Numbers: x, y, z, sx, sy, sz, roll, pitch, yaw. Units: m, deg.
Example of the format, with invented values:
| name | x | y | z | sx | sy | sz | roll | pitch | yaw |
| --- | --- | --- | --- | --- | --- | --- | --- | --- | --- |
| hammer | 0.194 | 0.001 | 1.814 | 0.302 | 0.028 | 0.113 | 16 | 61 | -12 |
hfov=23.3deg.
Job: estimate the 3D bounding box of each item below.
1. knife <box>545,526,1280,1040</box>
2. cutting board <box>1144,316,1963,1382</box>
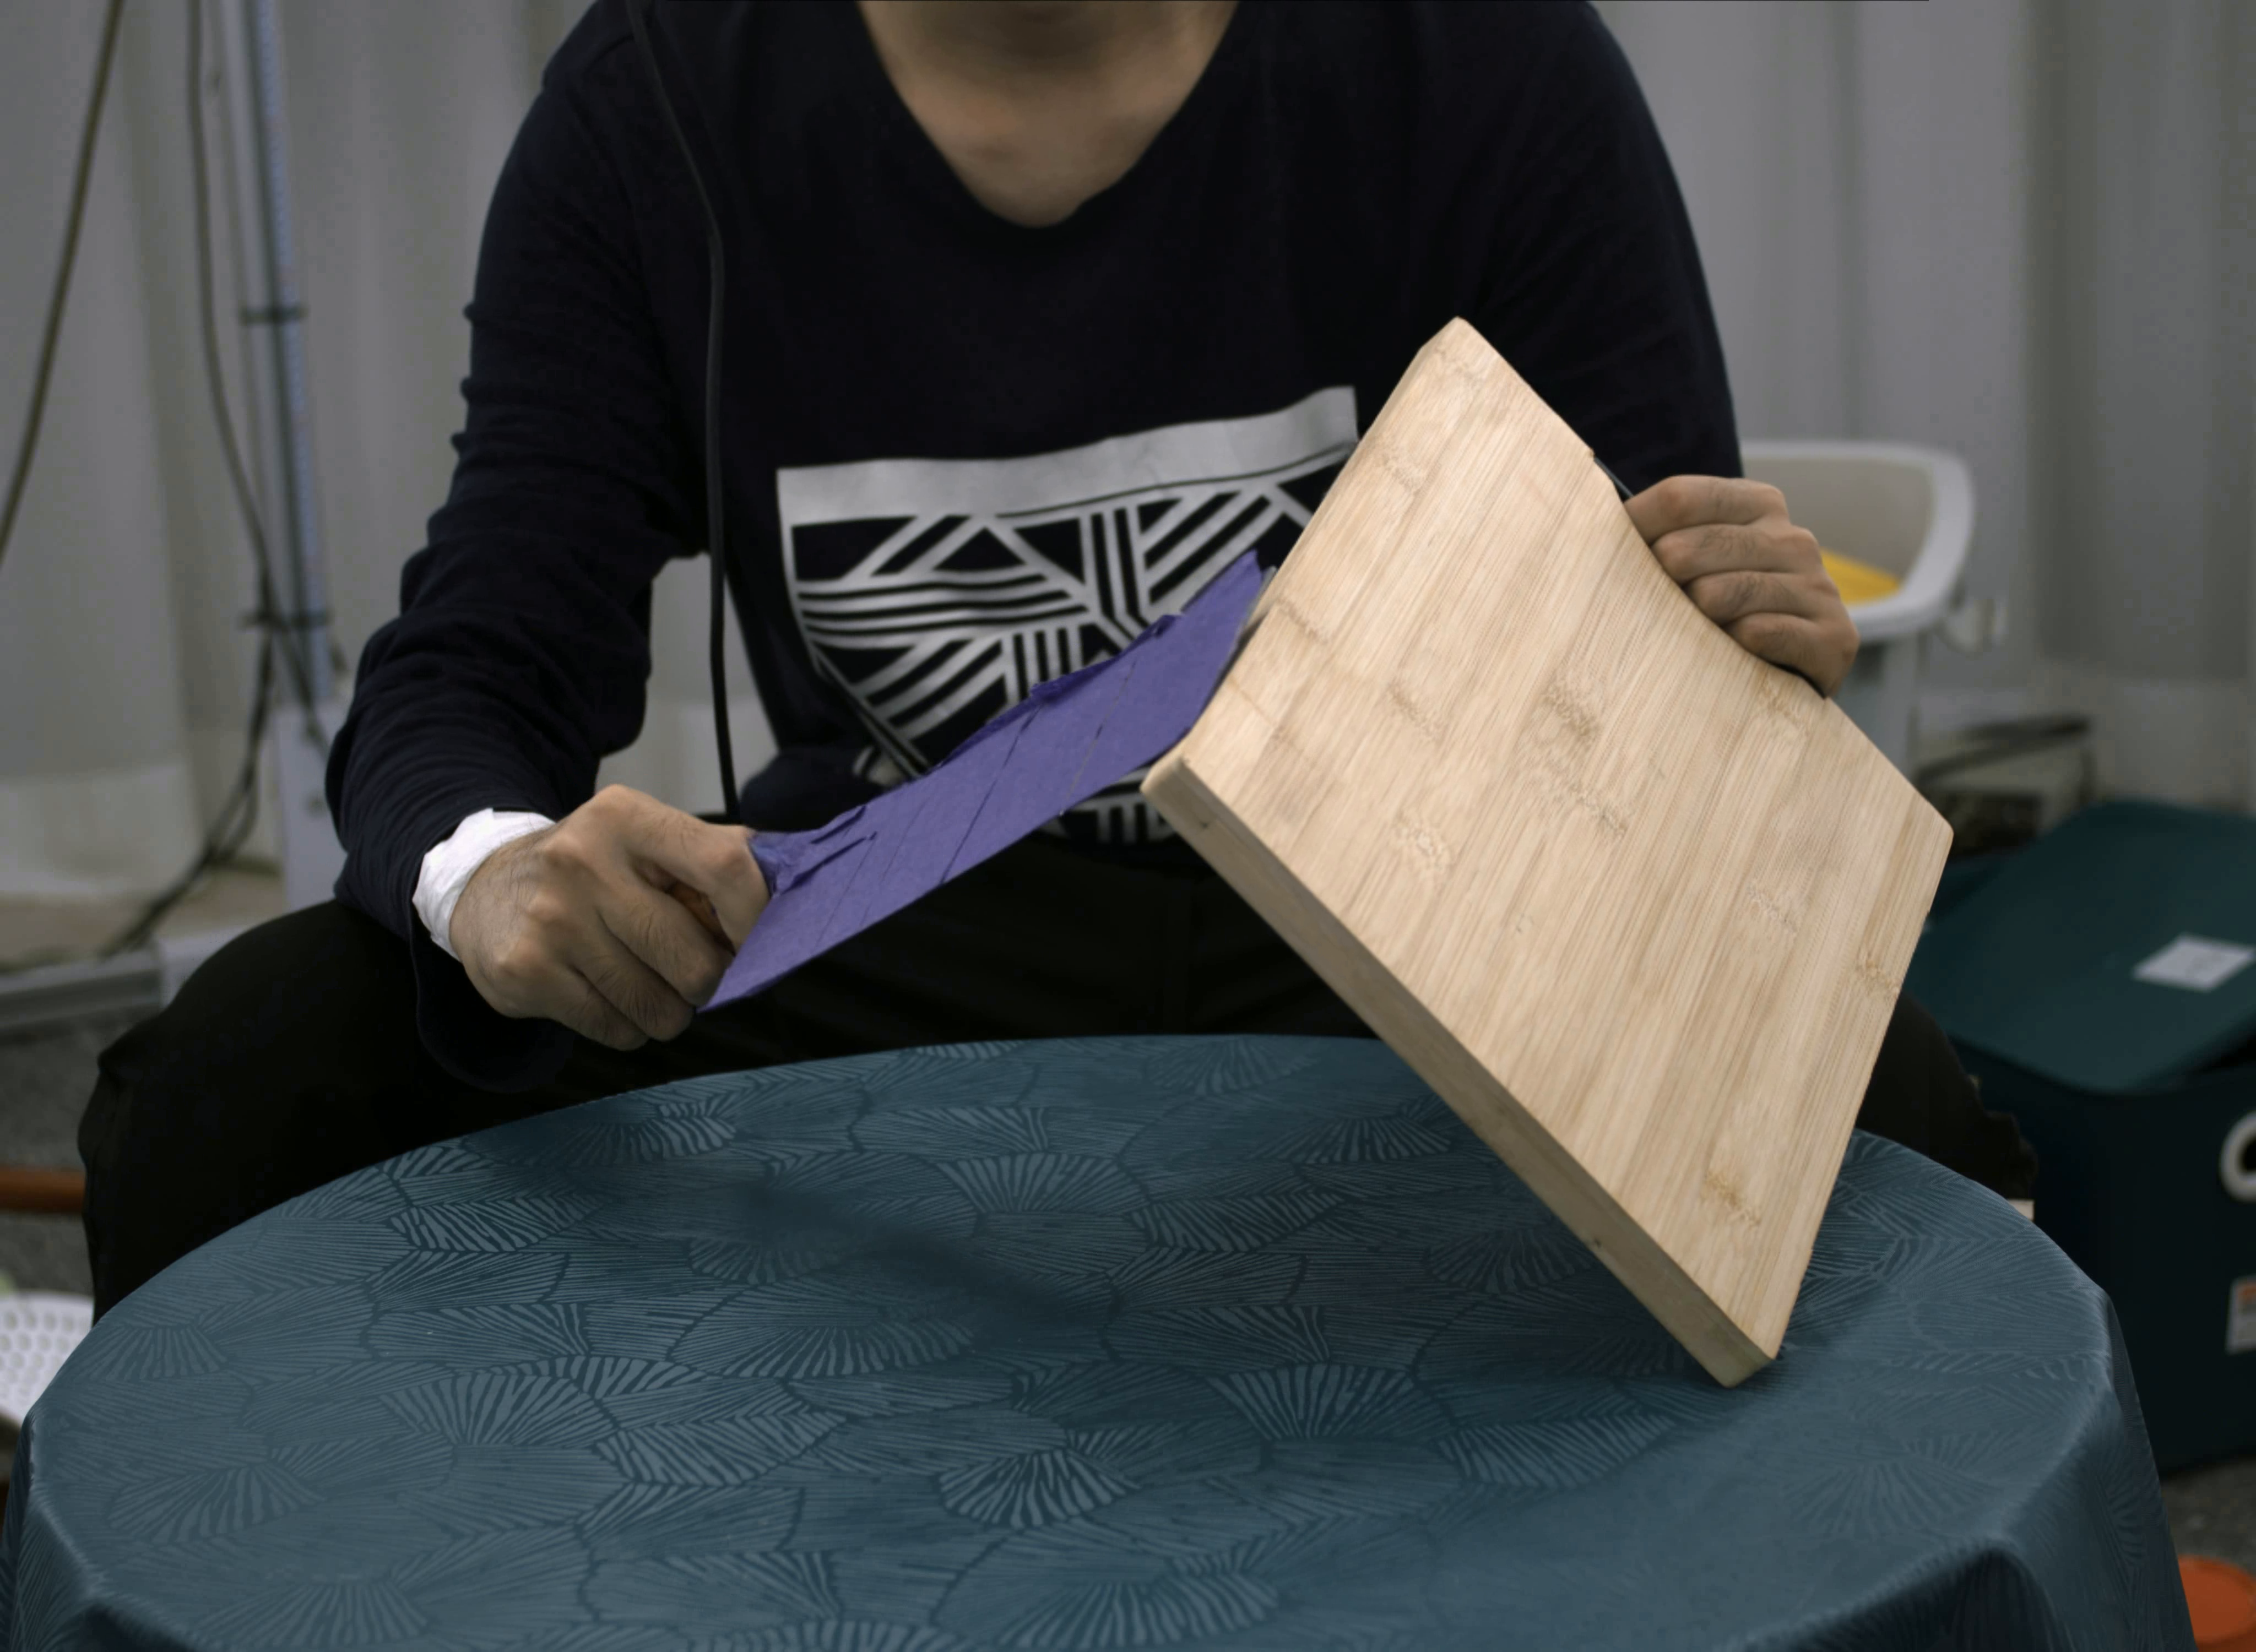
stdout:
| name | x | y | z | sx | sy | sz | roll | pitch | yaw |
| --- | --- | --- | --- | --- | --- | --- | --- | --- | --- |
| knife | -0.079 | 0.006 | 1.630 | 0.314 | 0.032 | 0.105 | -33 | 17 | 36 |
| cutting board | 0.139 | -0.005 | 1.658 | 0.023 | 0.250 | 0.351 | -41 | 8 | 29 |
